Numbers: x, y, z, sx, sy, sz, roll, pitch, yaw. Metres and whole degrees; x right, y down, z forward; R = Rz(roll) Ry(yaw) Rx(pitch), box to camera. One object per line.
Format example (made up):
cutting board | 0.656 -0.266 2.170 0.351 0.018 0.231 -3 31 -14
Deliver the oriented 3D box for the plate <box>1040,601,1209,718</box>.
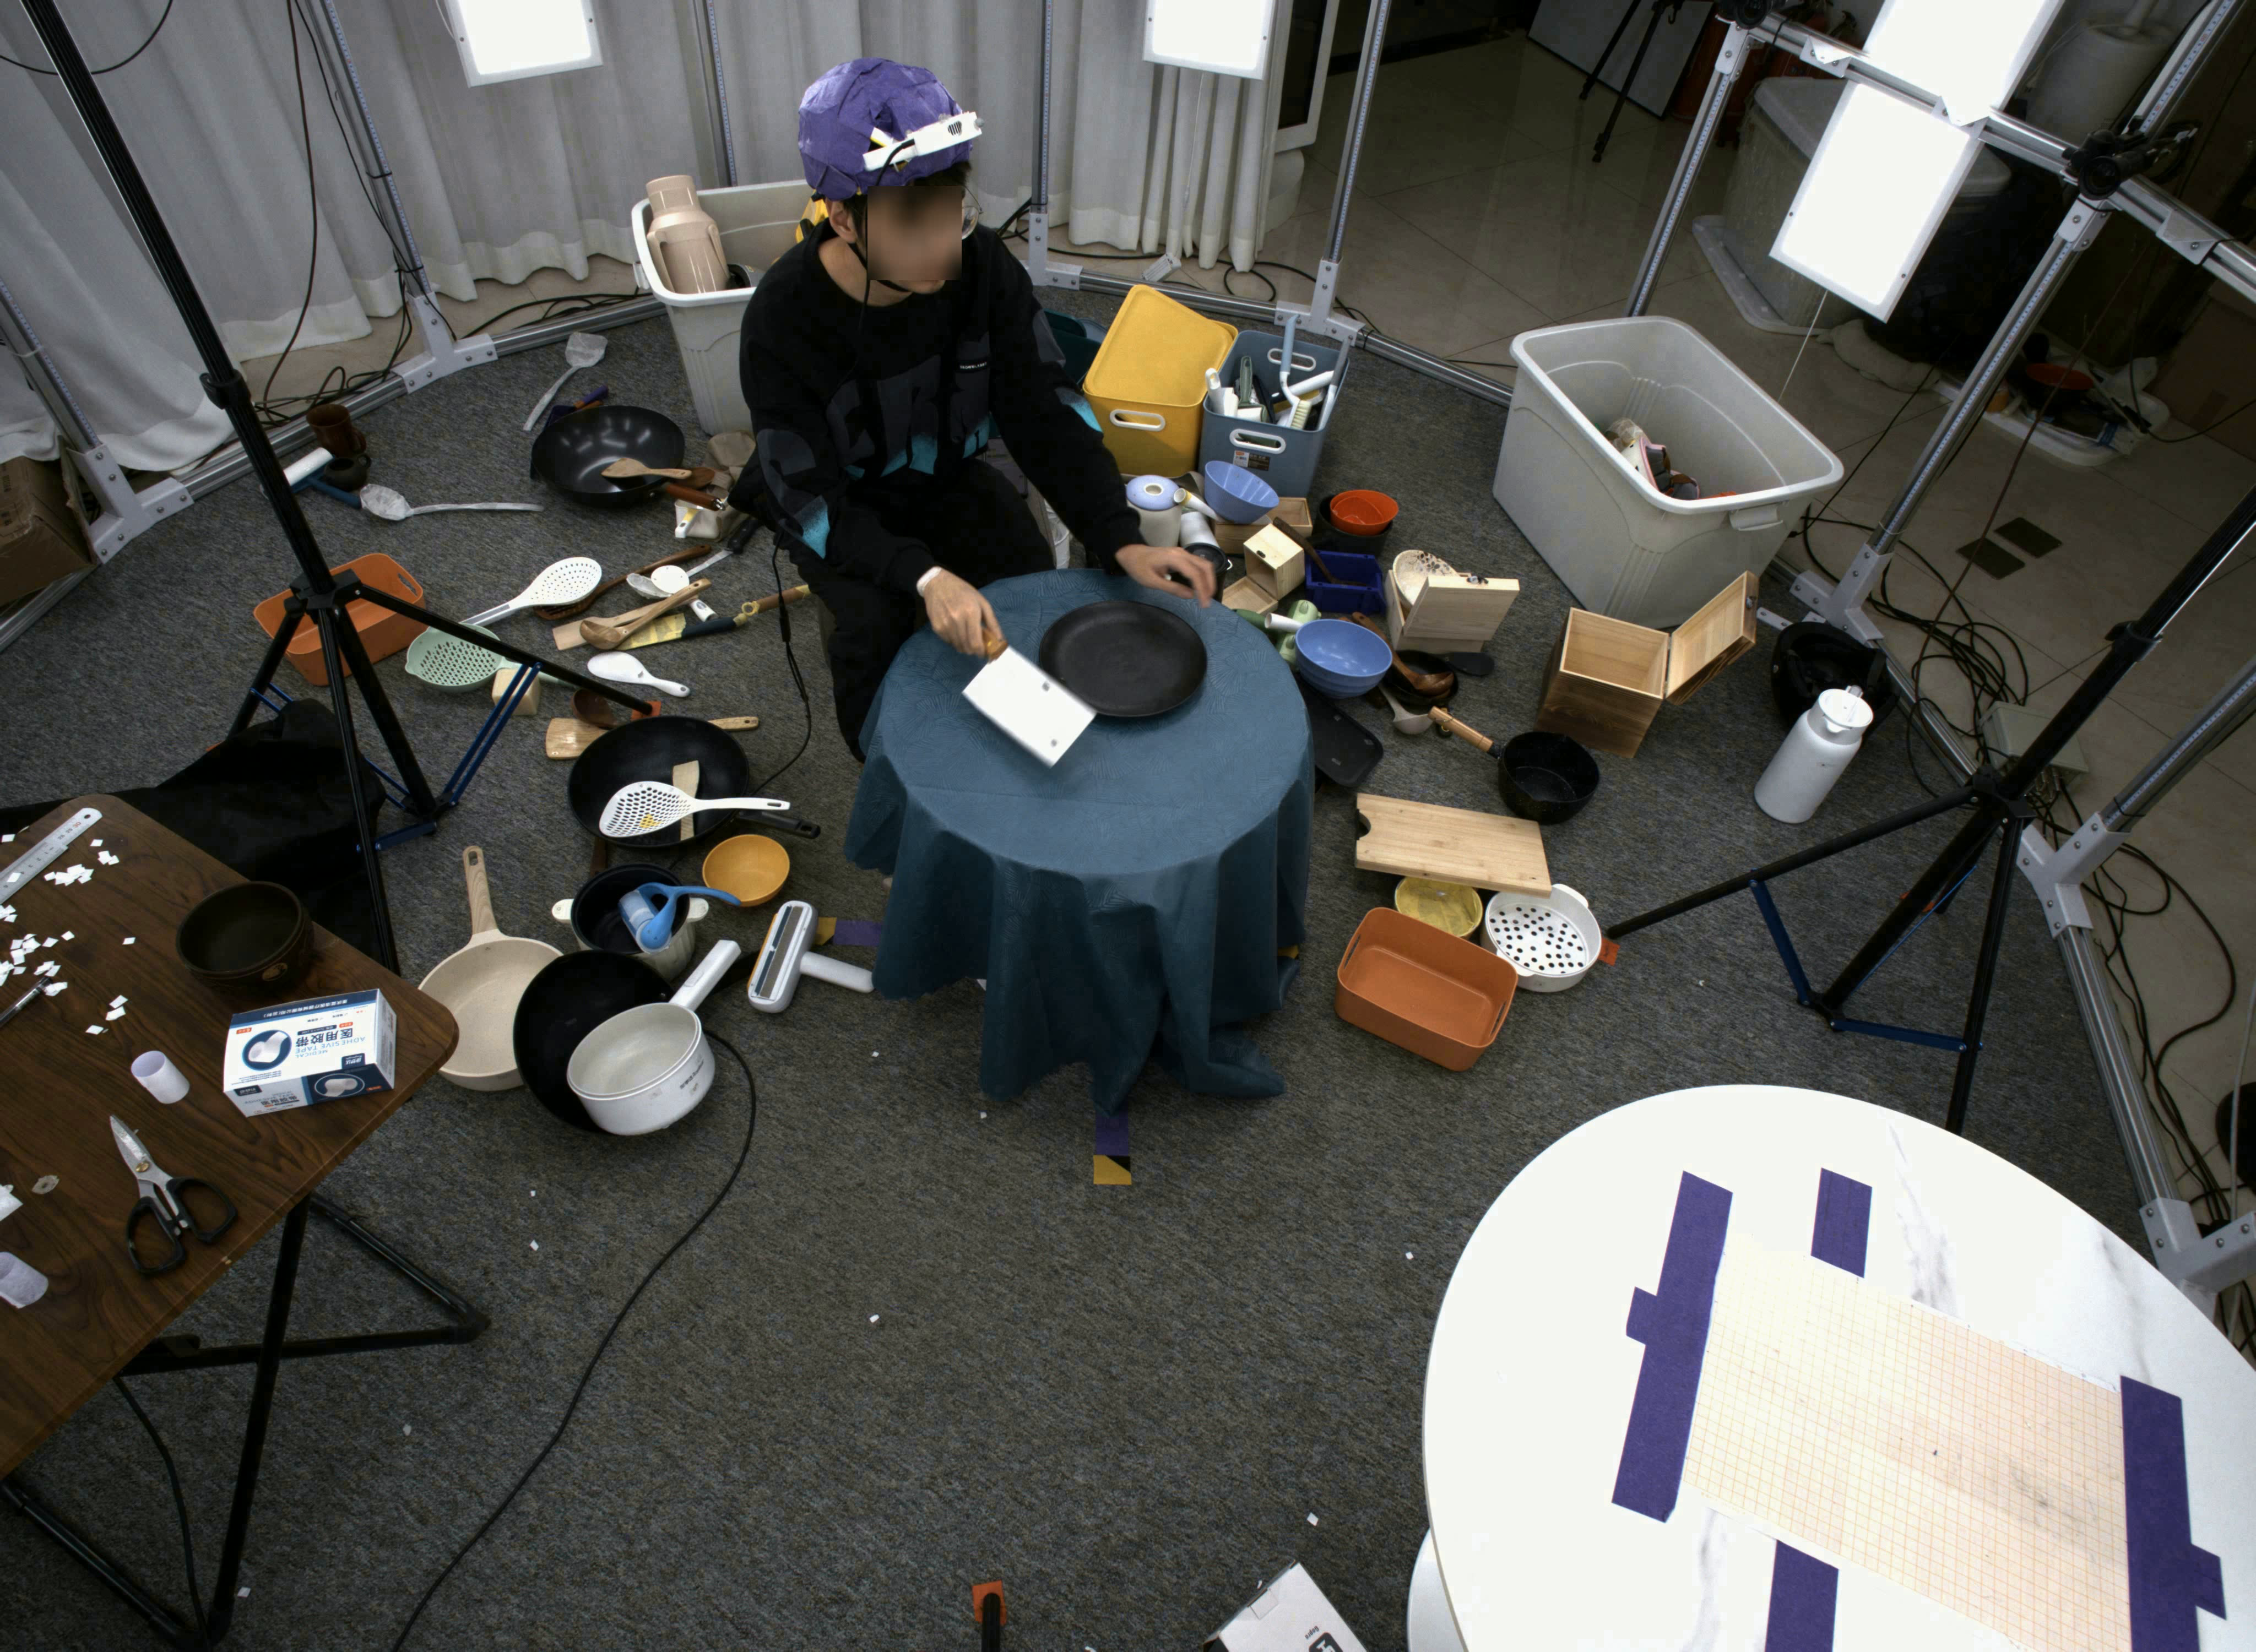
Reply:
plate | -0.004 -0.238 1.859 0.244 0.023 0.250 2 49 -2

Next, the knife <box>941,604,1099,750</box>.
knife | -0.166 -0.202 1.752 0.311 0.020 0.093 38 88 30
